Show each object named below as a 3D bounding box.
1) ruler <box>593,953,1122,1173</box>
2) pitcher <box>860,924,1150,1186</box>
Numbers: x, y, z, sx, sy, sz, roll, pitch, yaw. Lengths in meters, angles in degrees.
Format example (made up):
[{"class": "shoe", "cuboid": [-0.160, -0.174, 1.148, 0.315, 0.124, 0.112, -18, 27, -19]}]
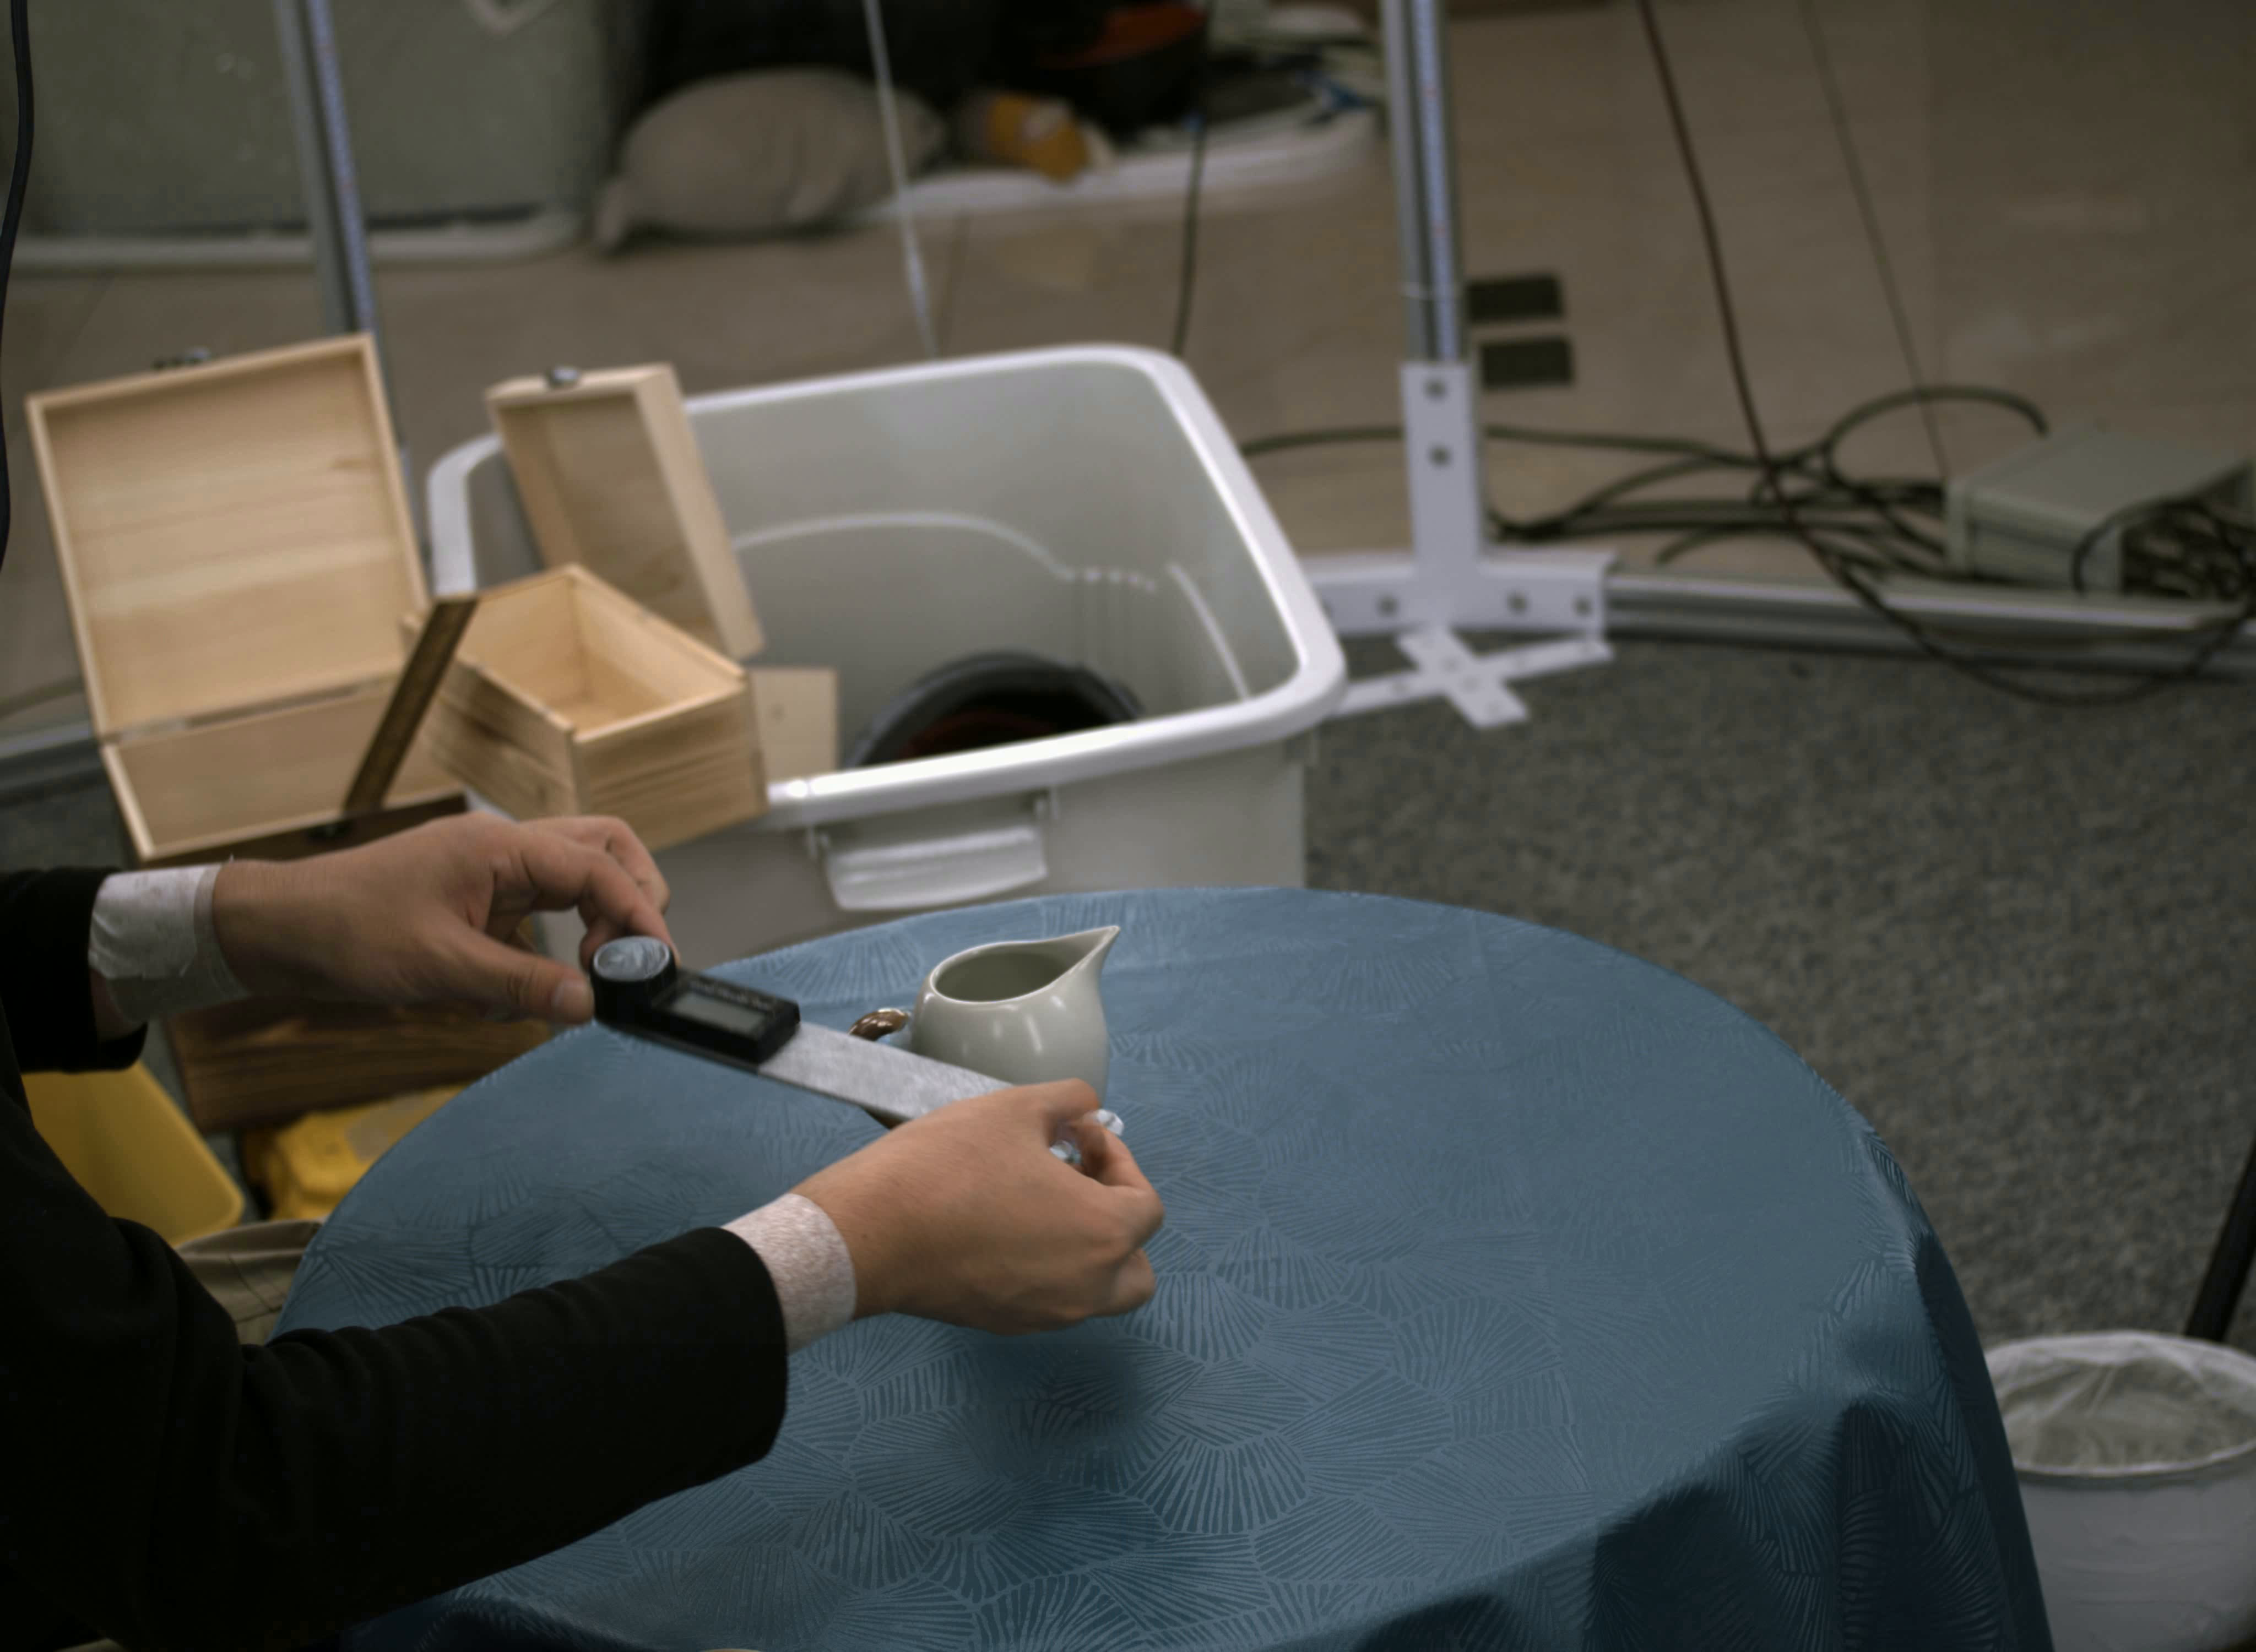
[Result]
[{"class": "ruler", "cuboid": [-0.104, 0.084, 2.067, 0.217, 0.024, 0.038, 13, 44, 29]}, {"class": "pitcher", "cuboid": [-0.043, 0.090, 2.159, 0.119, 0.089, 0.075, -12, 23, -14]}]
